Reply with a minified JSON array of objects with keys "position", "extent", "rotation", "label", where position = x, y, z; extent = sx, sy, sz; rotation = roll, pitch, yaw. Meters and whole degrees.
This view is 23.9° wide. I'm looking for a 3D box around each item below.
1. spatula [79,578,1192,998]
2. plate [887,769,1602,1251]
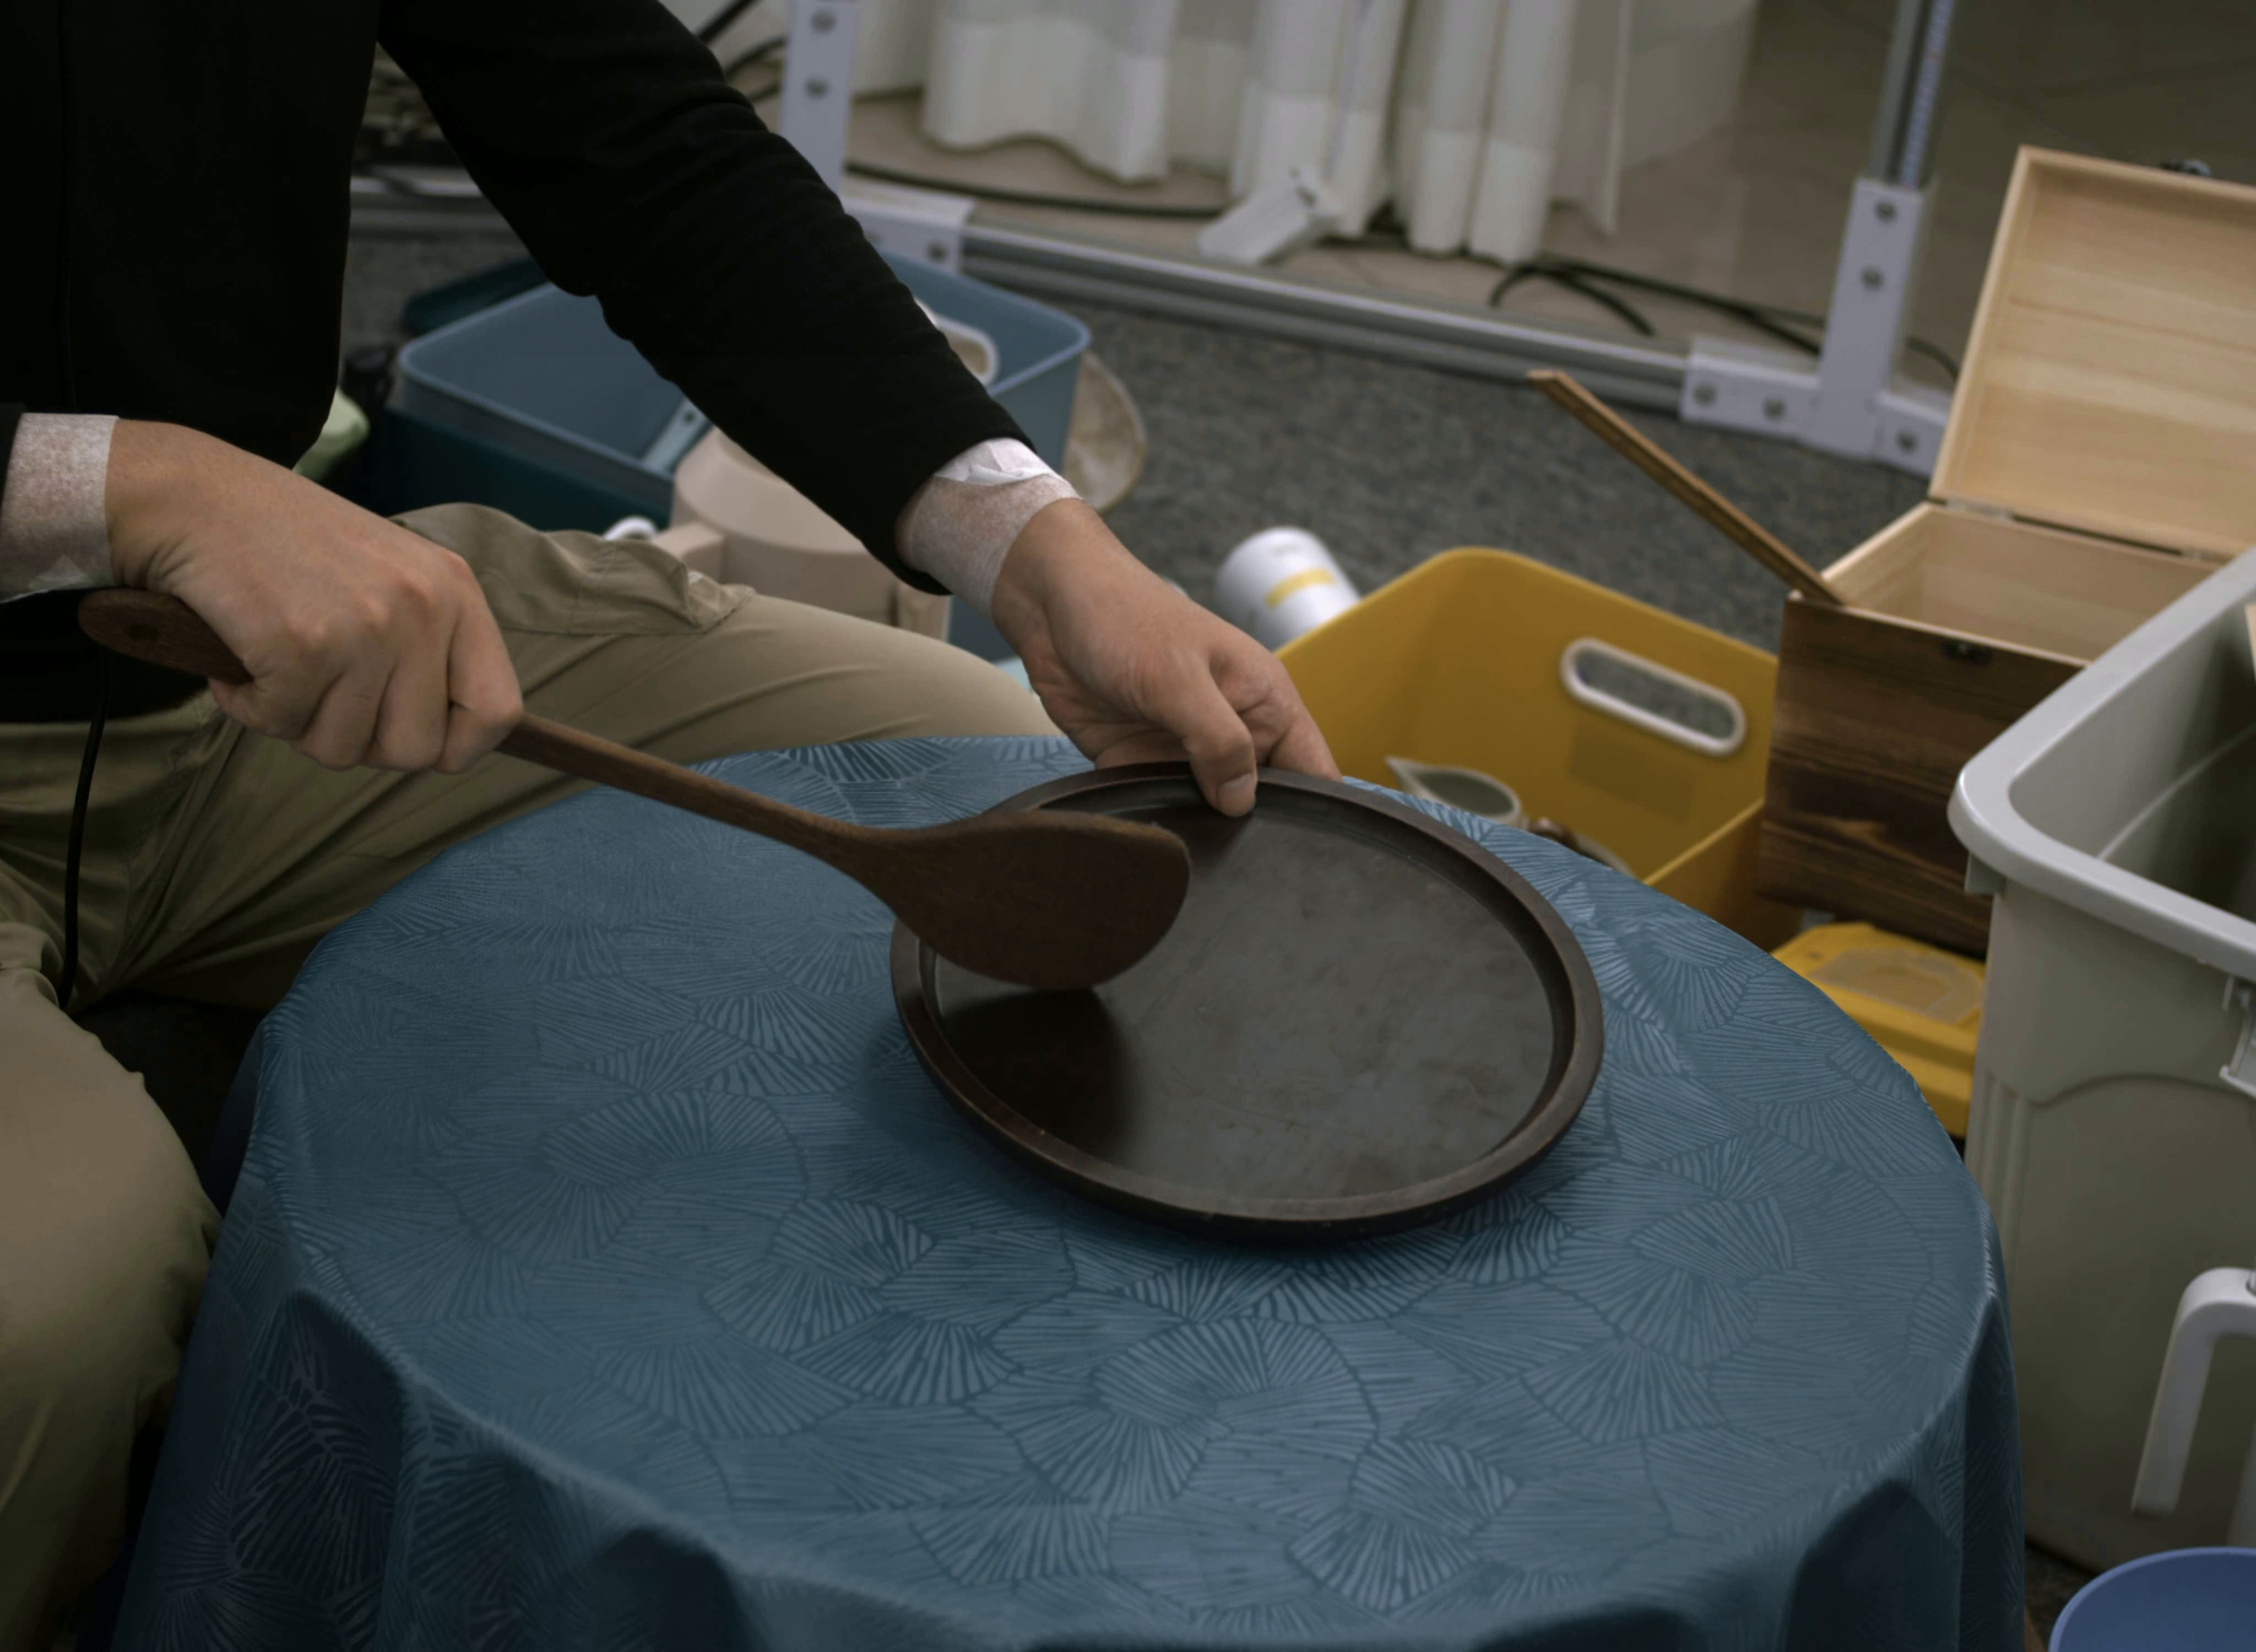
[{"position":[-0.163,-0.018,1.780],"extent":[0.384,0.096,0.016],"rotation":[18,47,-13],"label":"spatula"},{"position":[0.040,0.062,1.865],"extent":[0.254,0.029,0.257],"rotation":[6,38,-5],"label":"plate"}]
